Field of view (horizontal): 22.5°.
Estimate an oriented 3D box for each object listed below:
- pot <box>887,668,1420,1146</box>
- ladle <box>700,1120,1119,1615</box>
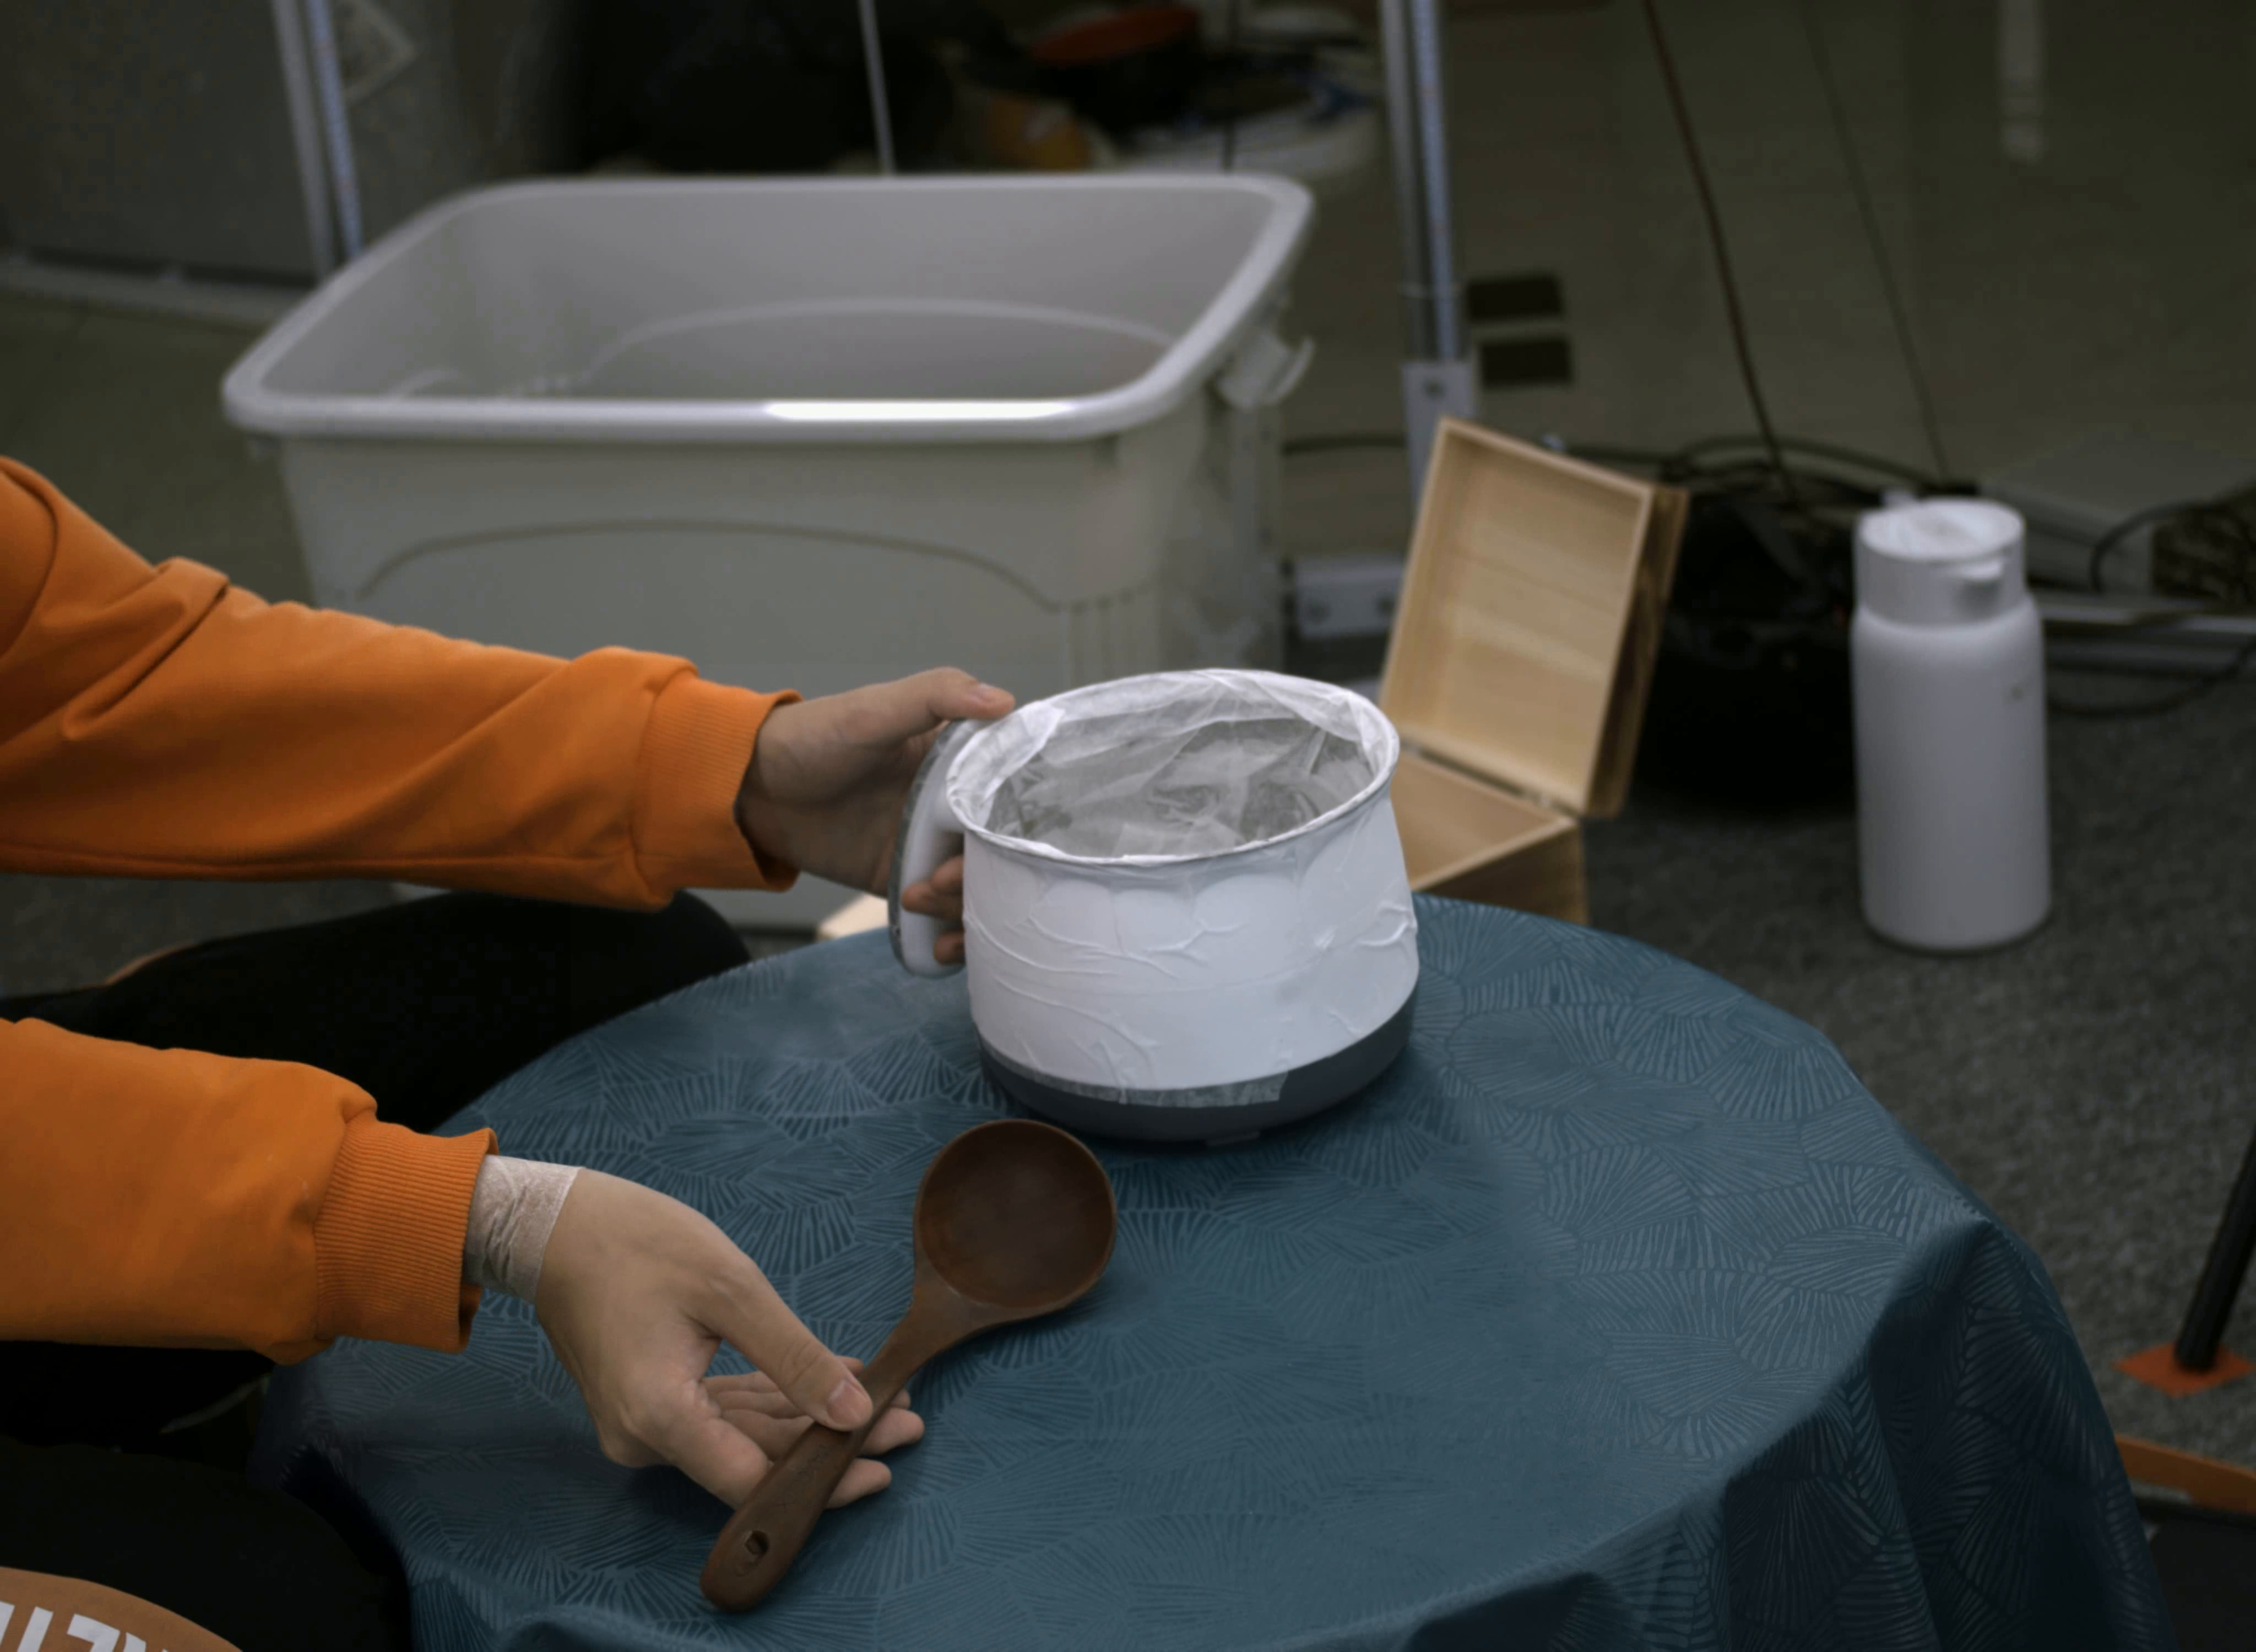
[{"bbox_3d":[0.000,0.028,2.219,0.232,0.139,0.177,11,30,33],"label":"pot"},{"bbox_3d":[-0.079,0.186,1.993,0.076,0.066,0.257,30,34,9],"label":"ladle"}]
